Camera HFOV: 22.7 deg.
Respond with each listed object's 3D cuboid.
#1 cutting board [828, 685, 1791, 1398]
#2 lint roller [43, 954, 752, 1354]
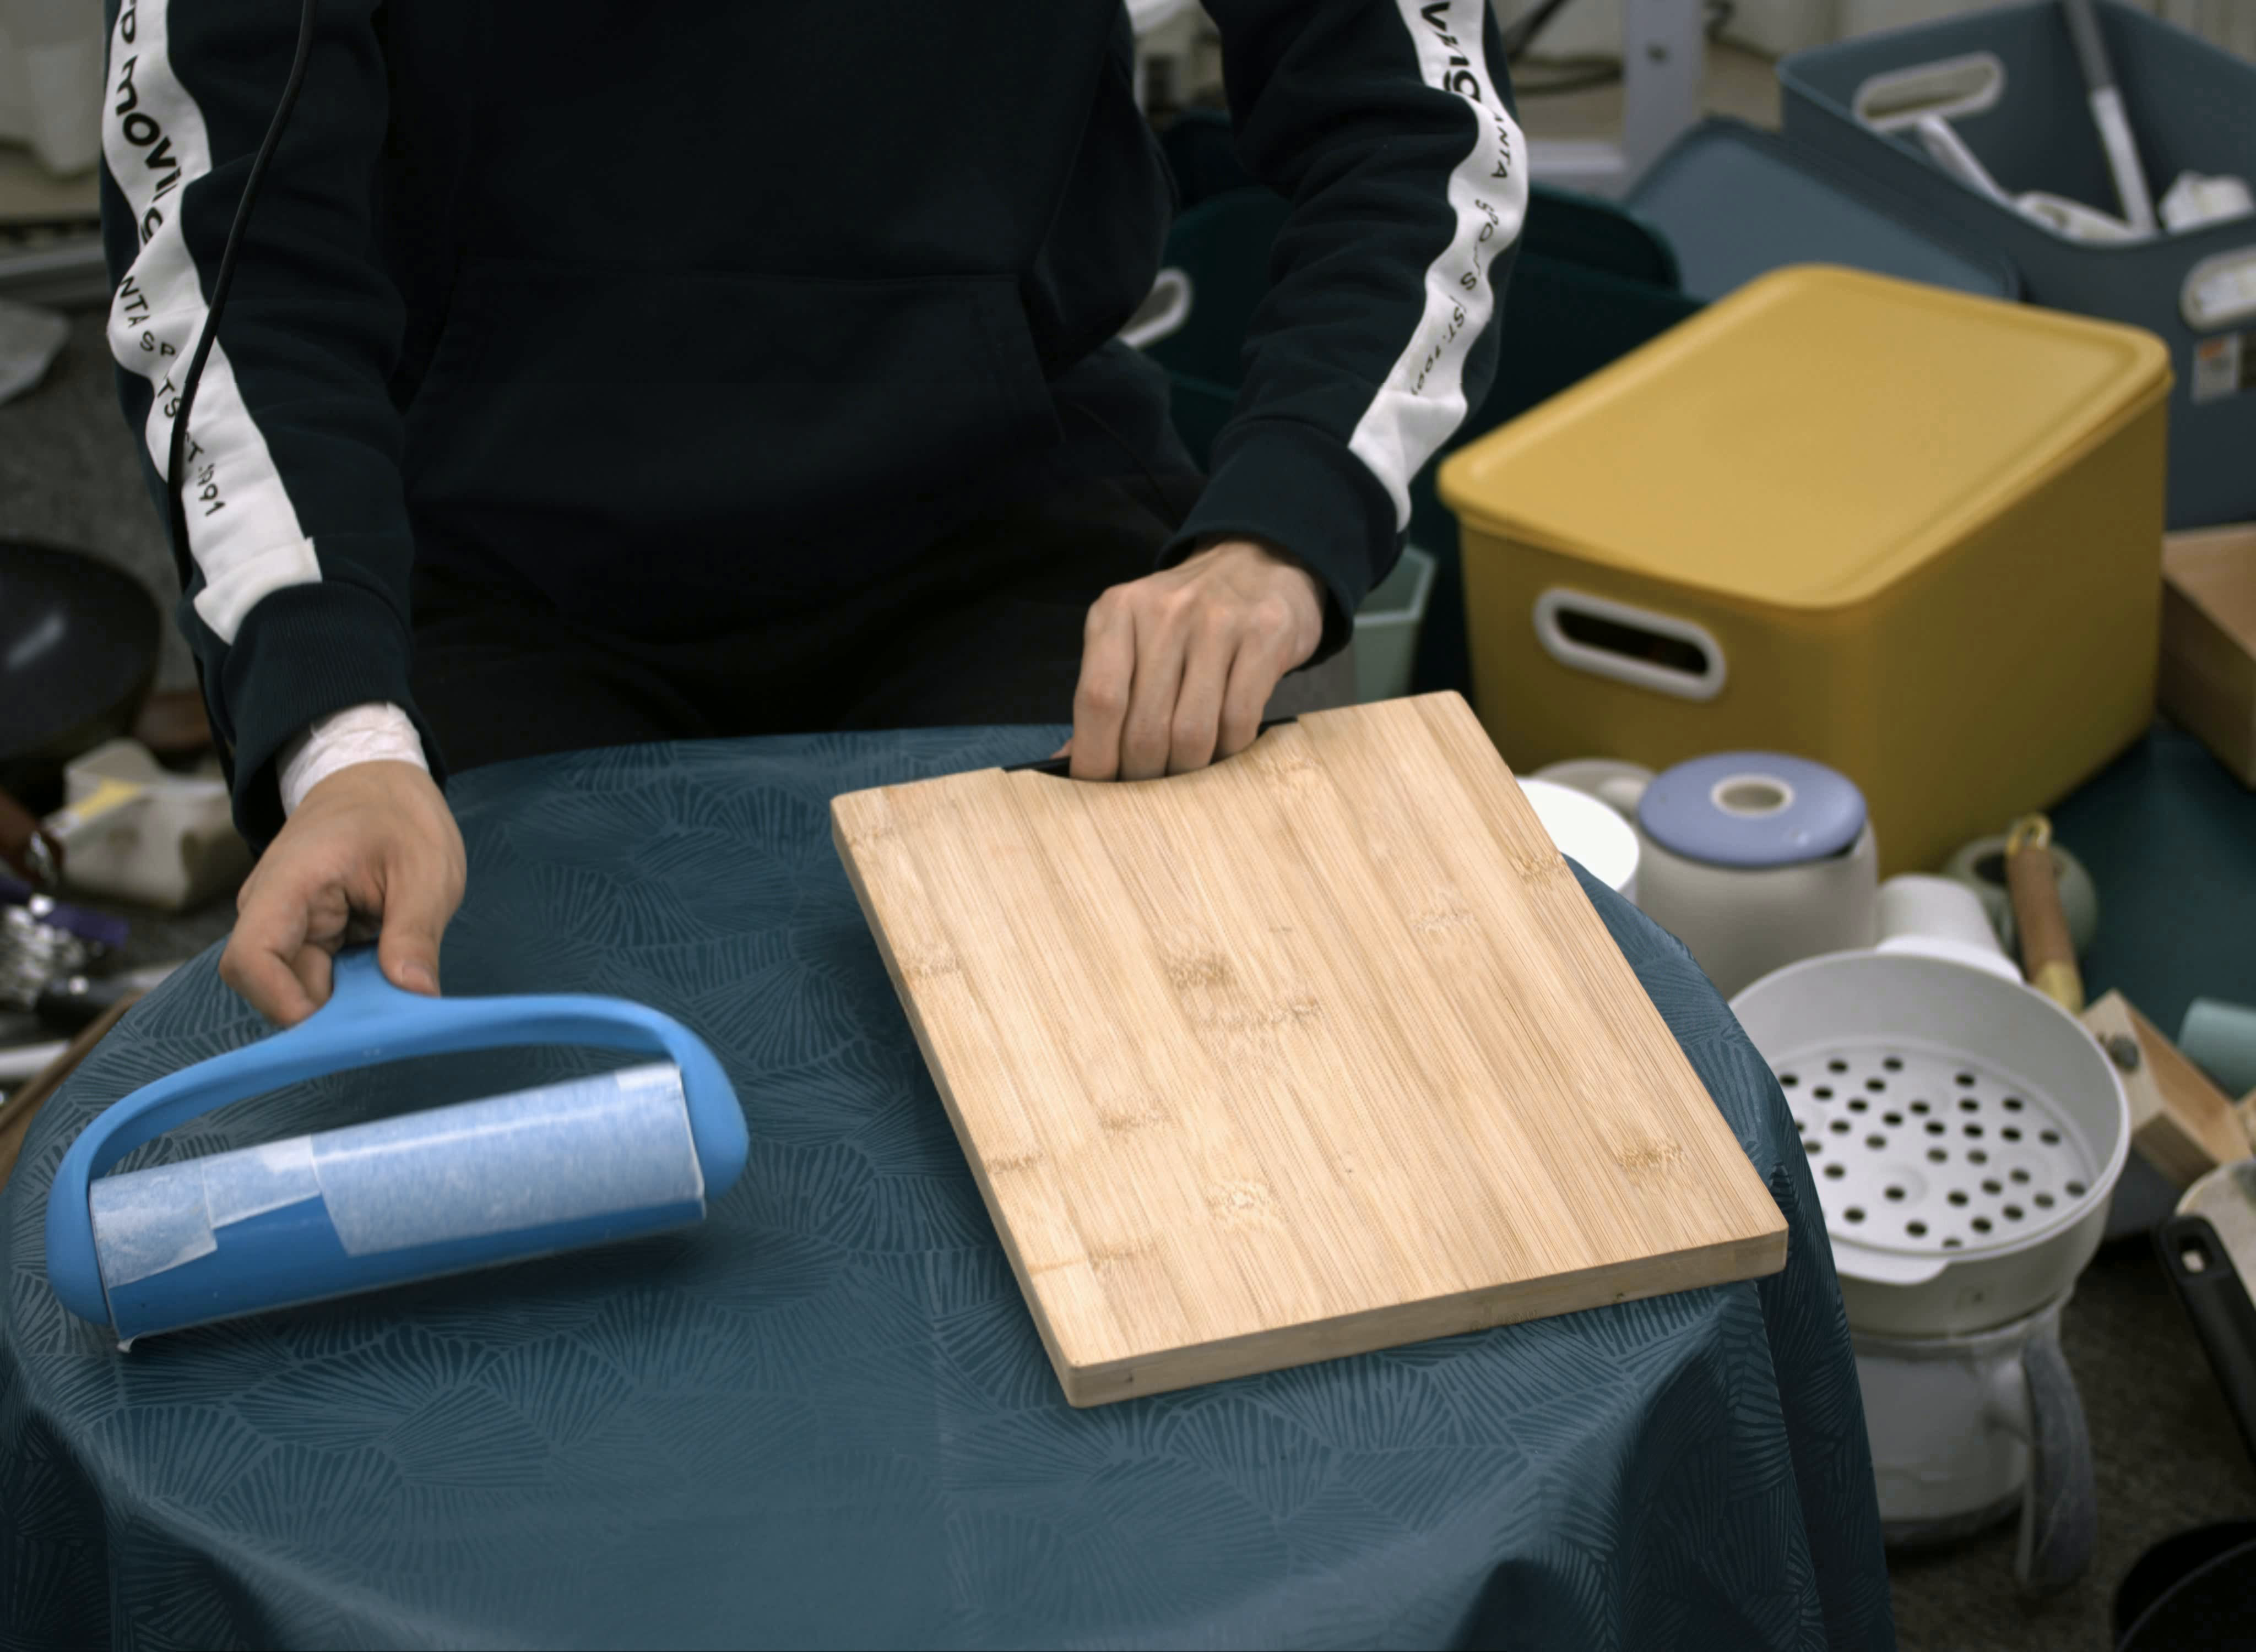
[{"bbox_3d":[0.052,0.066,1.911,0.251,0.023,0.353,-10,34,-13],"label":"cutting board"},{"bbox_3d":[-0.249,0.087,1.854,0.229,0.067,0.183,-13,40,-9],"label":"lint roller"}]
